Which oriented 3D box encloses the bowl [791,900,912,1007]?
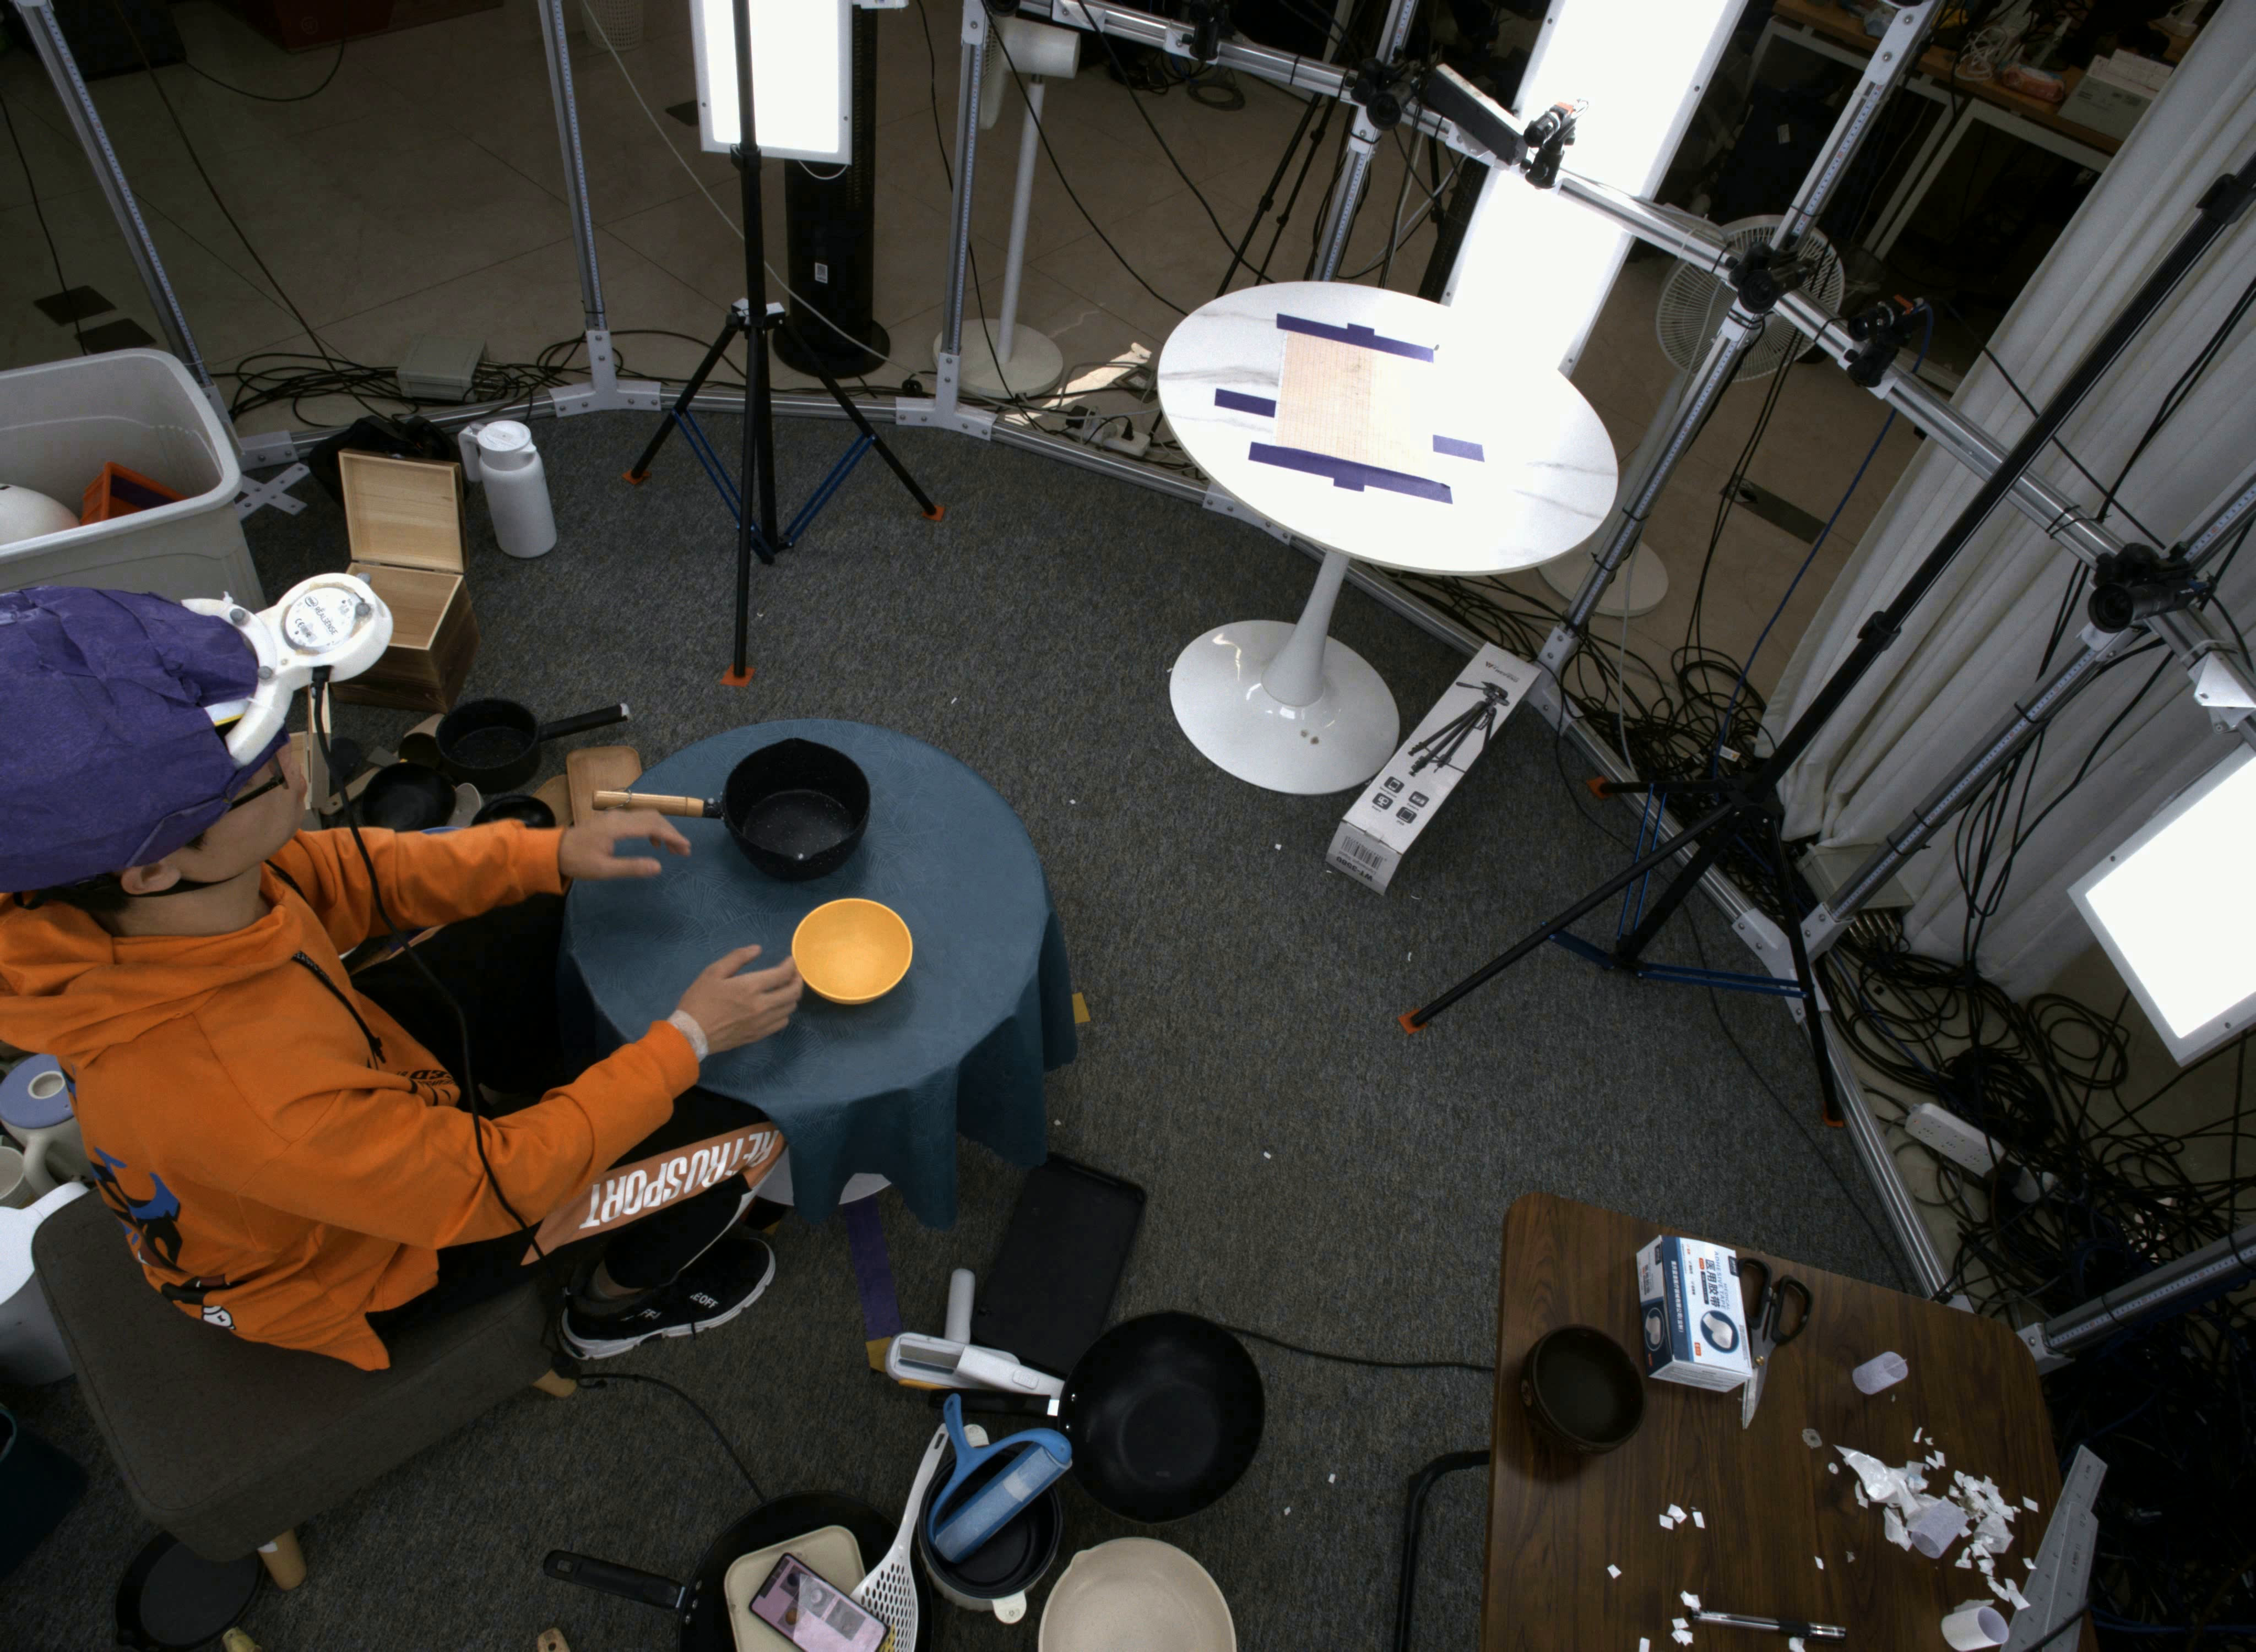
[{"bbox_3d":[-0.335,0.163,1.578,0.145,0.061,0.142,7,52,-8],"label":"bowl"}]

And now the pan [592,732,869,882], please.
[{"bbox_3d":[-0.501,-0.016,1.635,0.344,0.110,0.203,-4,56,-19],"label":"pan"}]
